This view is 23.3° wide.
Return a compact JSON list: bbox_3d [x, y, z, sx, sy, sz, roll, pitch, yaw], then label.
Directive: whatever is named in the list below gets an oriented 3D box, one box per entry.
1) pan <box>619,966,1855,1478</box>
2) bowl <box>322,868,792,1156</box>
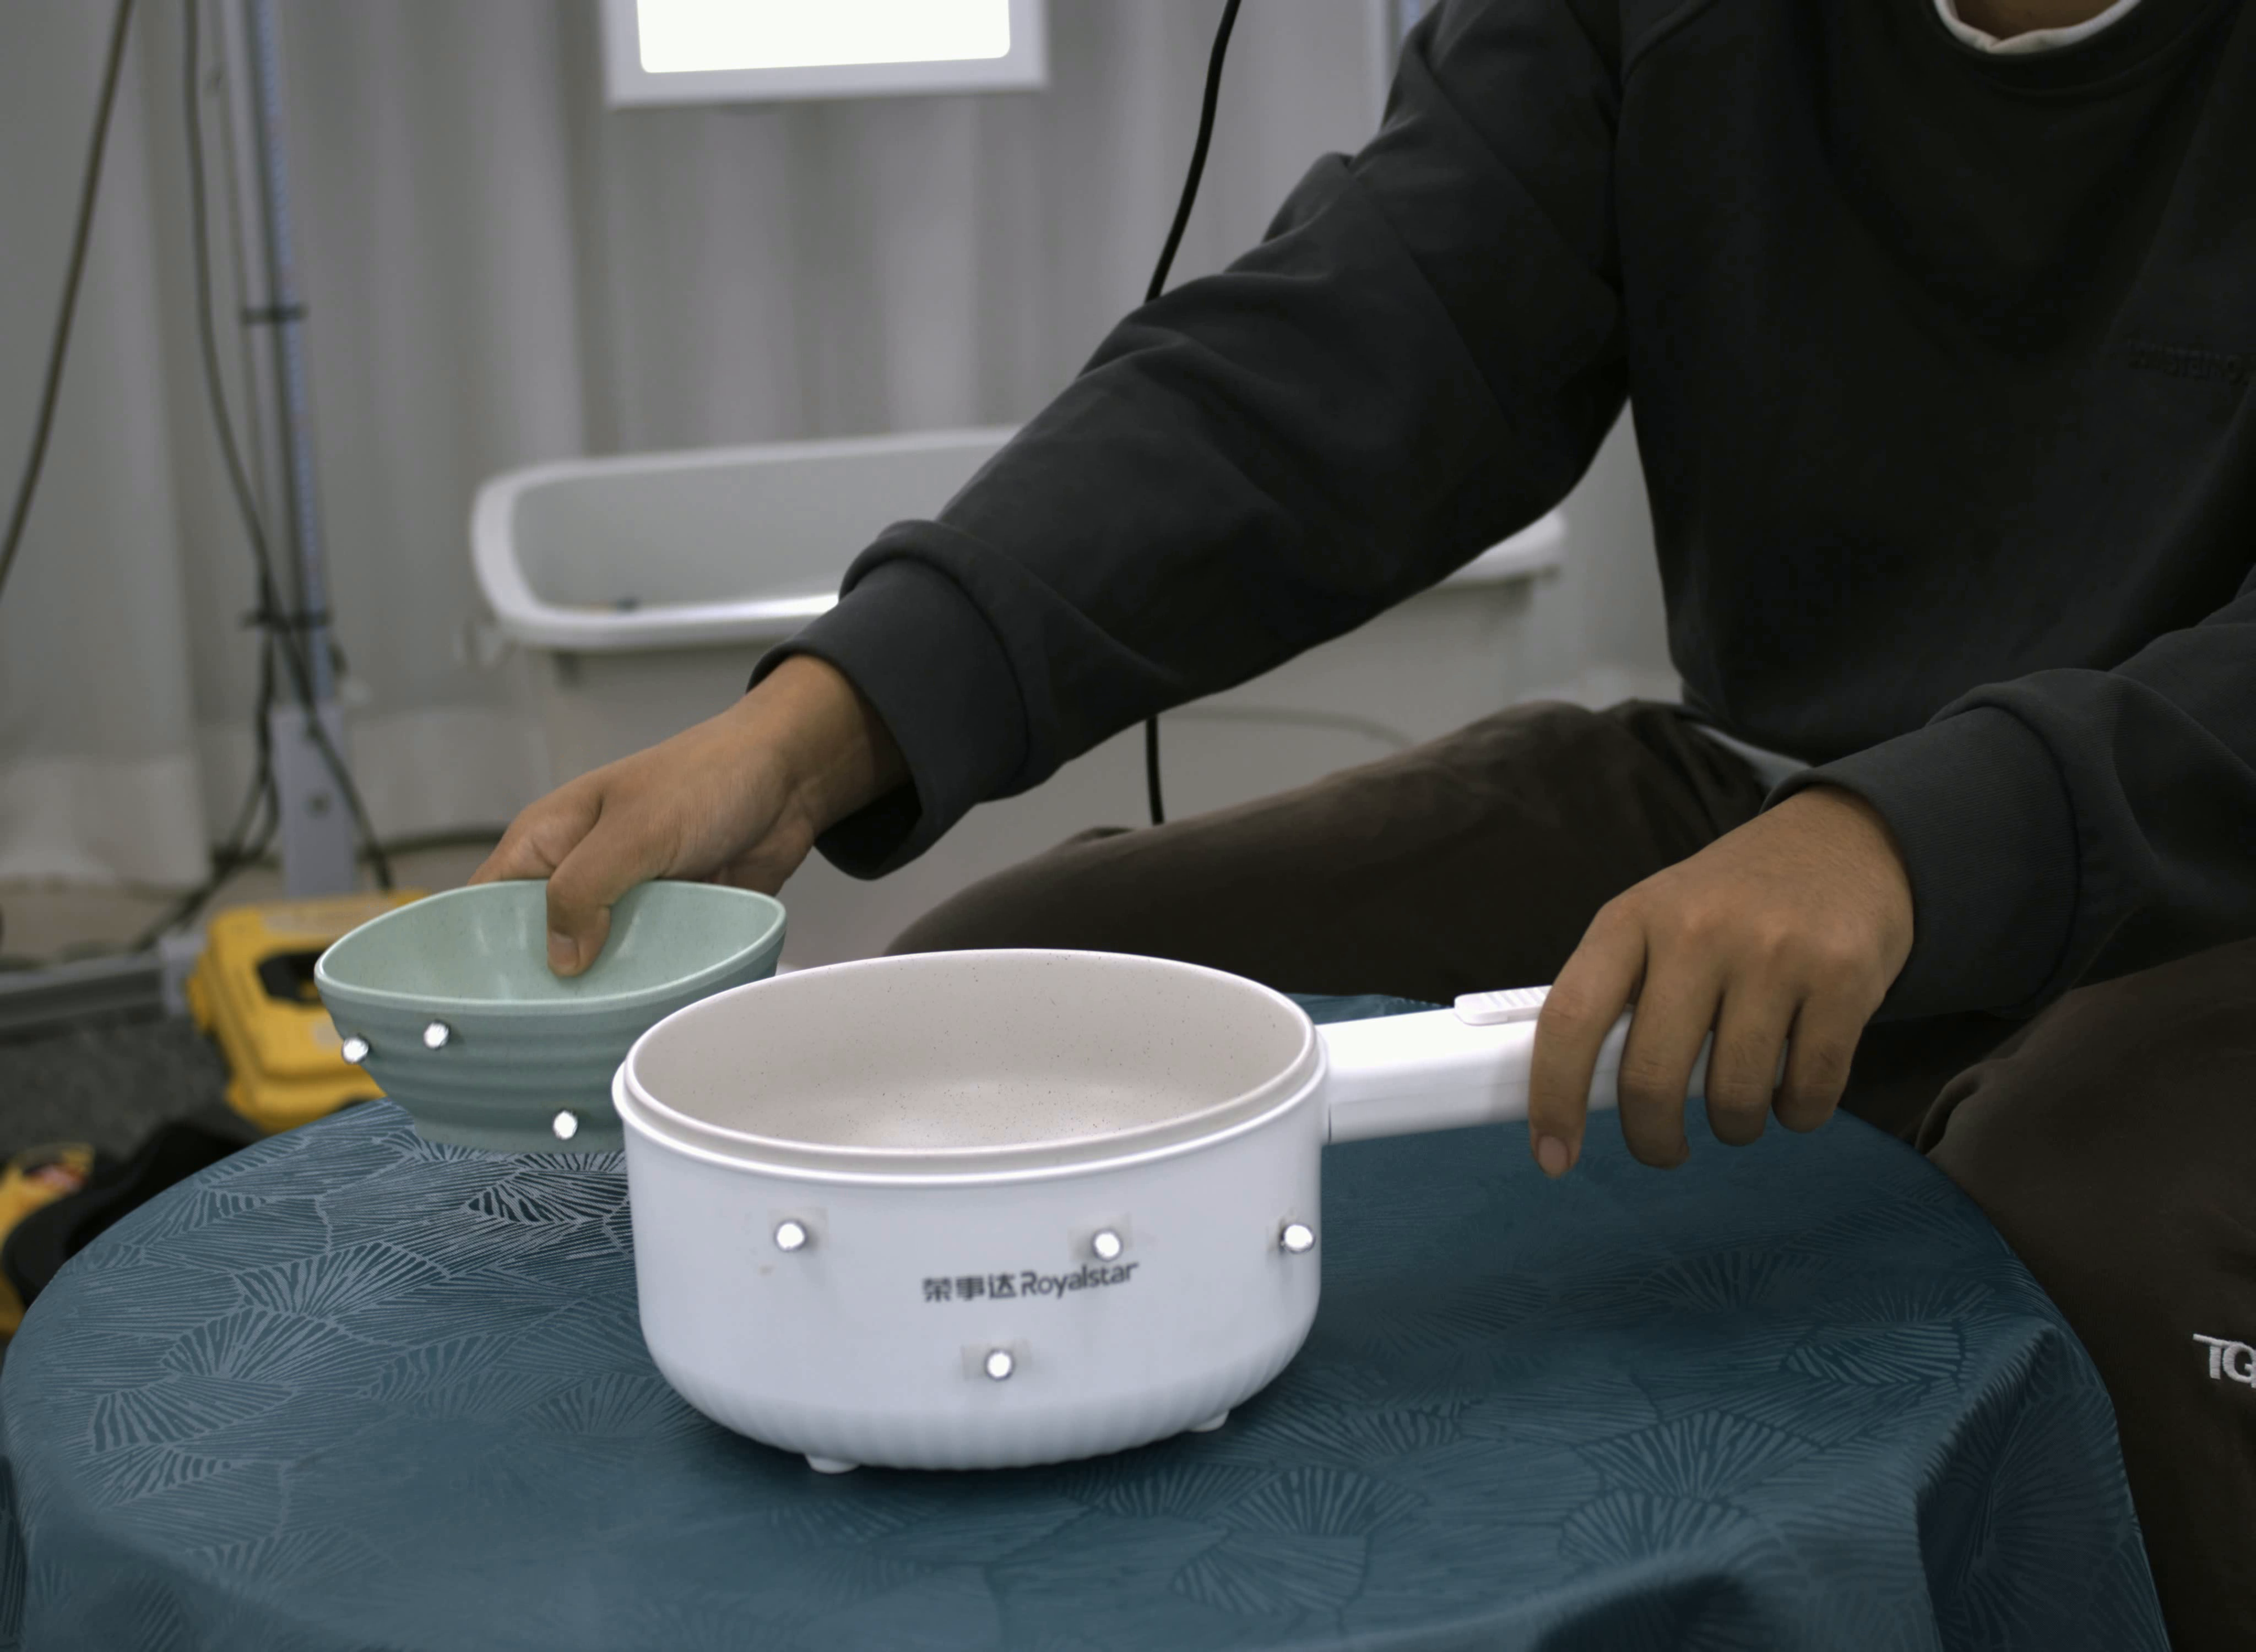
[{"bbox_3d":[0.033,0.108,1.562,0.353,0.102,0.202,-4,13,-11],"label":"pan"},{"bbox_3d":[-0.176,0.061,1.718,0.151,0.058,0.152,-4,16,1],"label":"bowl"}]
